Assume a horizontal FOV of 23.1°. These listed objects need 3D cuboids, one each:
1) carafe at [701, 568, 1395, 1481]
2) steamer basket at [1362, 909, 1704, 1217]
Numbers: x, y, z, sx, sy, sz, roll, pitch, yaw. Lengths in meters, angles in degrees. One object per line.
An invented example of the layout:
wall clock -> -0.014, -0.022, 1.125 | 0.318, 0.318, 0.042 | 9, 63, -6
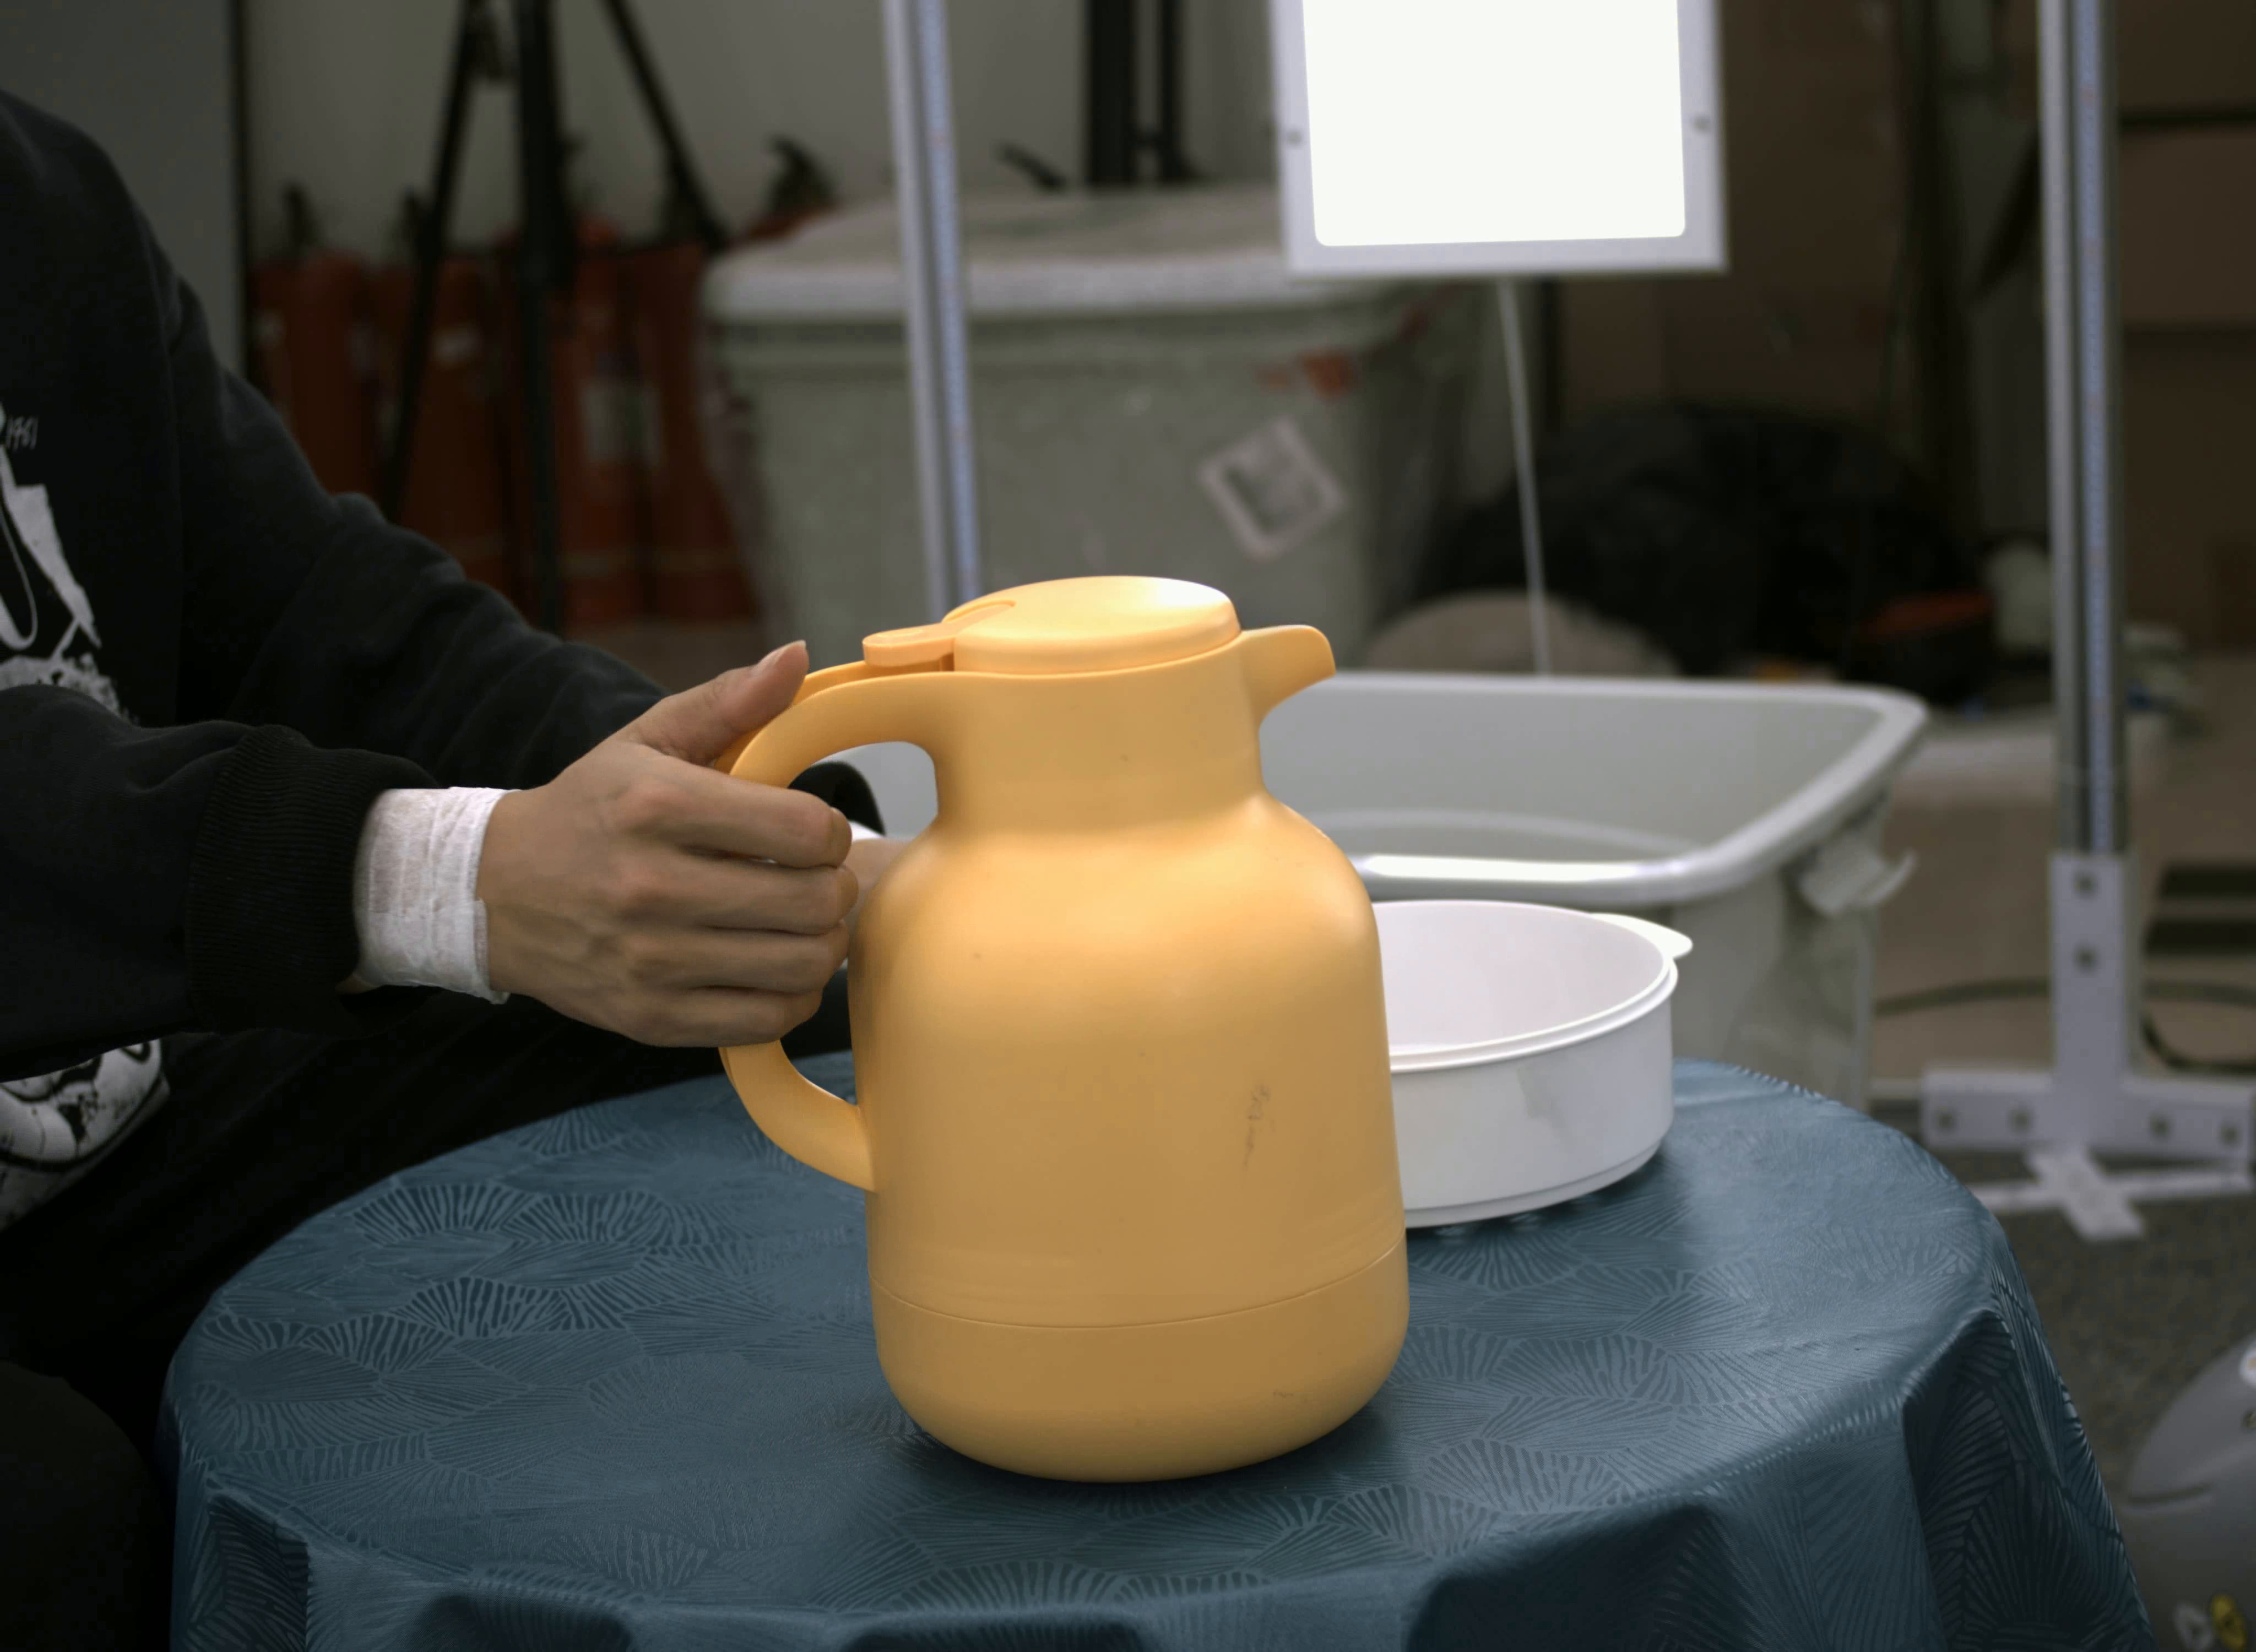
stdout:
carafe -> -0.024, 0.056, 1.642 | 0.200, 0.261, 0.164 | -5, 11, -7
steamer basket -> 0.095, 0.082, 1.901 | 0.225, 0.069, 0.205 | -9, 13, -26
